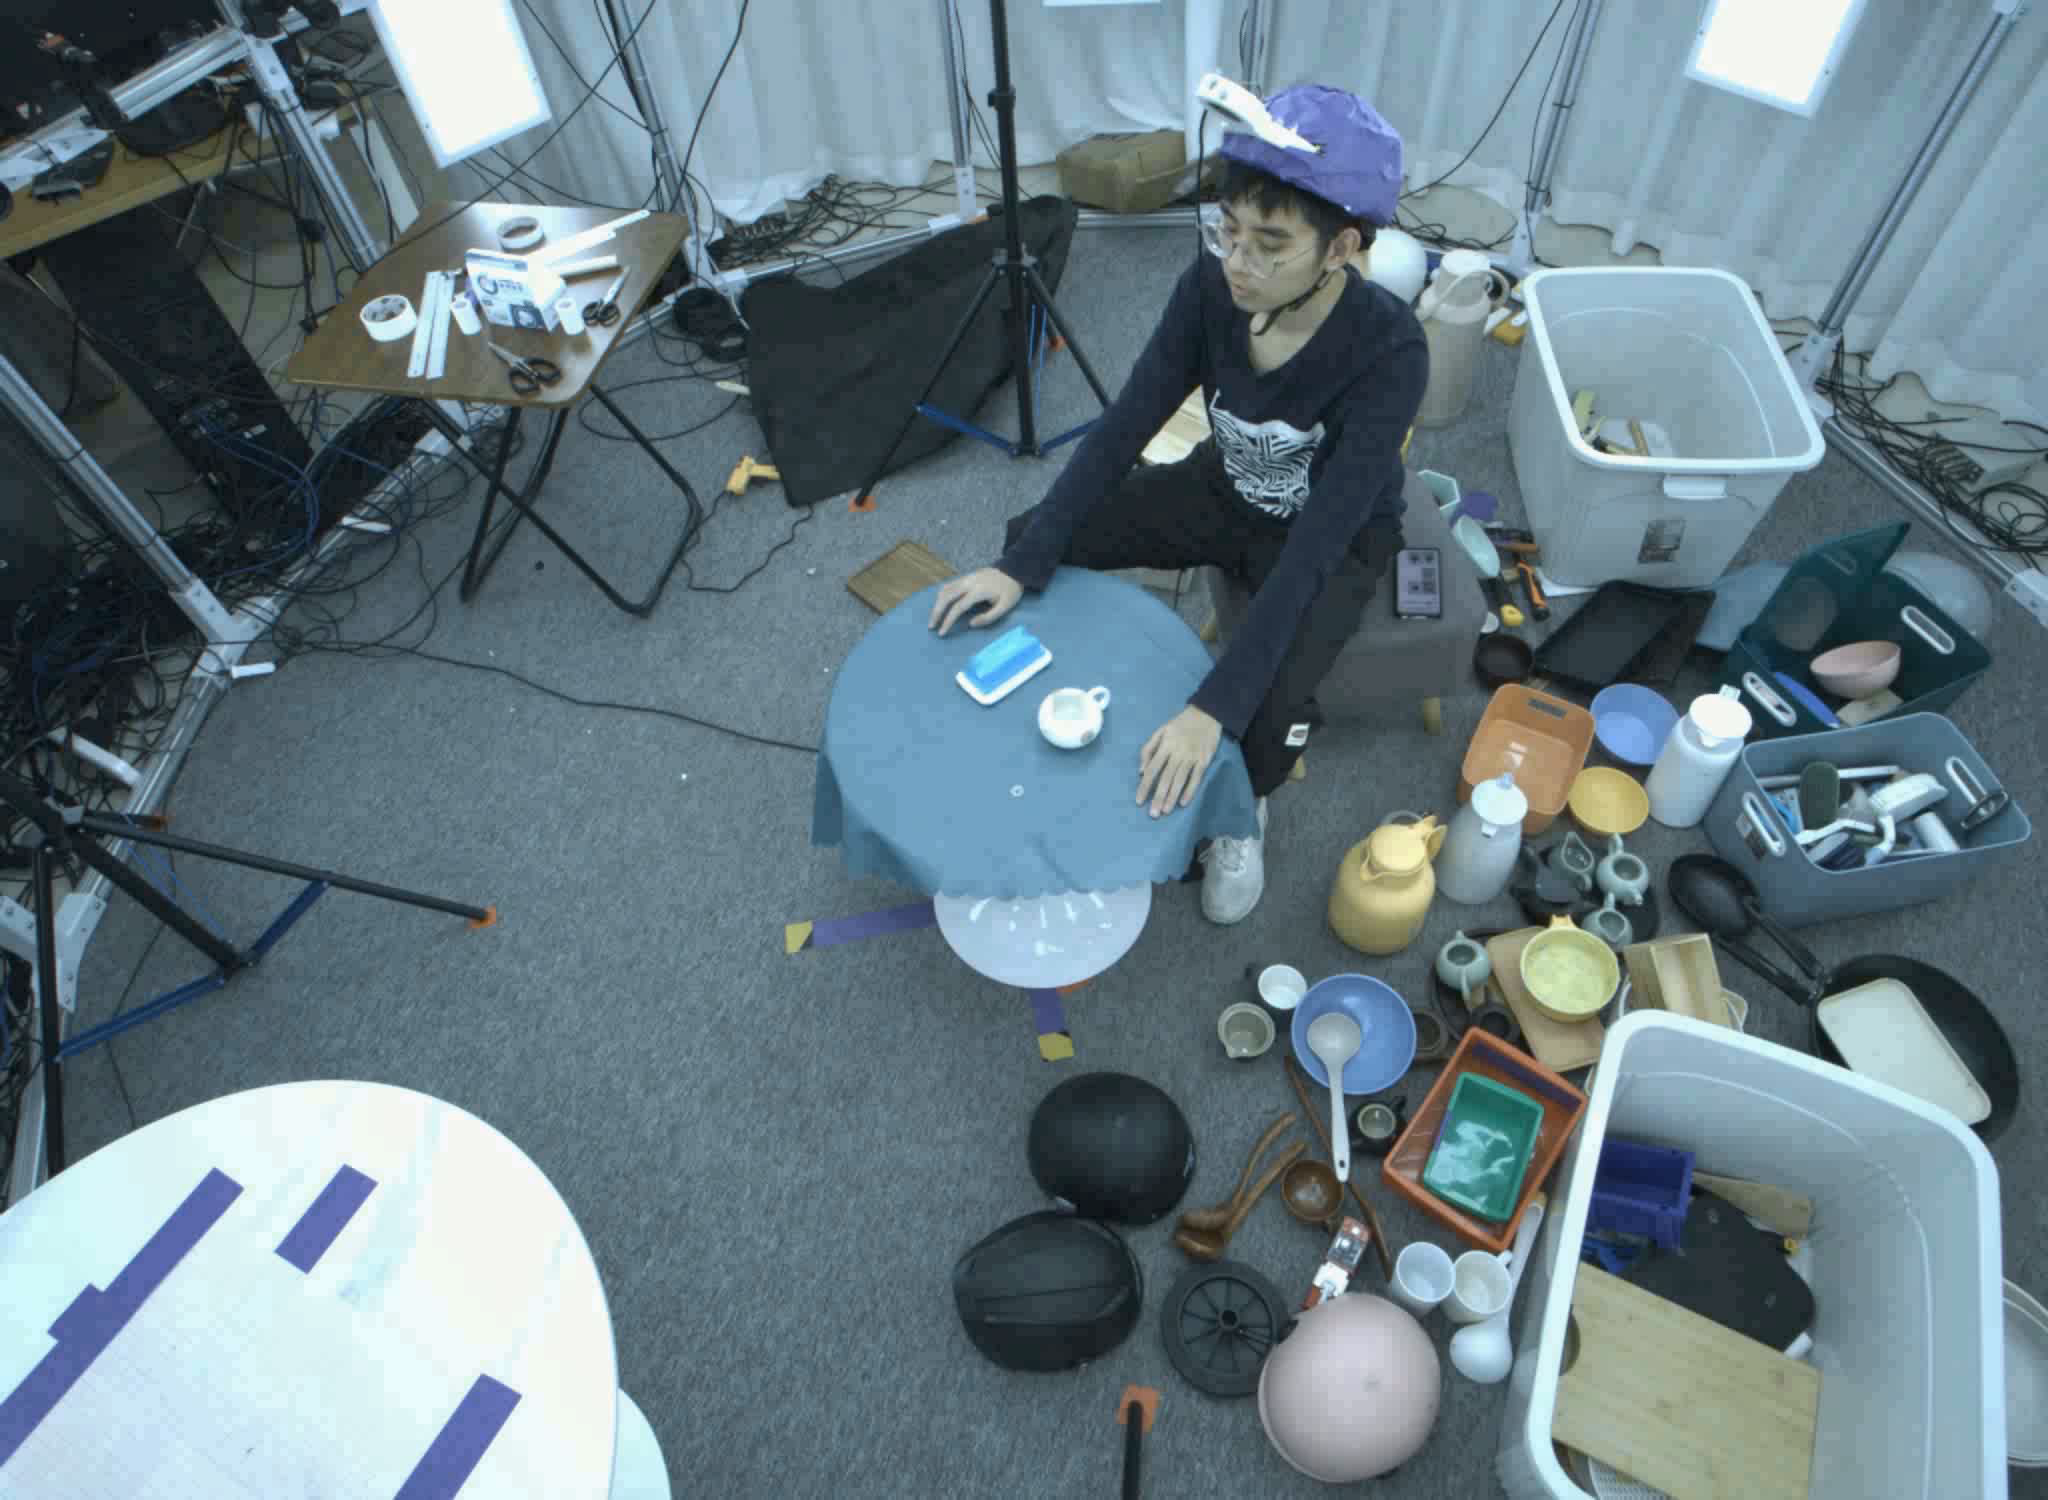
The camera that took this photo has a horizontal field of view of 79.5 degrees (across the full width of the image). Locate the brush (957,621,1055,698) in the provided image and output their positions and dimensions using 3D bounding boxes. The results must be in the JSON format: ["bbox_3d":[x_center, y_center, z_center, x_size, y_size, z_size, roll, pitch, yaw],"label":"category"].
[{"bbox_3d":[-0.027,-0.144,1.846,0.145,0.056,0.082,-36,64,-19],"label":"brush"}]

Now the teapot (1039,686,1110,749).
[{"bbox_3d":[0.076,-0.051,1.780,0.091,0.057,0.128,37,63,28],"label":"teapot"}]
